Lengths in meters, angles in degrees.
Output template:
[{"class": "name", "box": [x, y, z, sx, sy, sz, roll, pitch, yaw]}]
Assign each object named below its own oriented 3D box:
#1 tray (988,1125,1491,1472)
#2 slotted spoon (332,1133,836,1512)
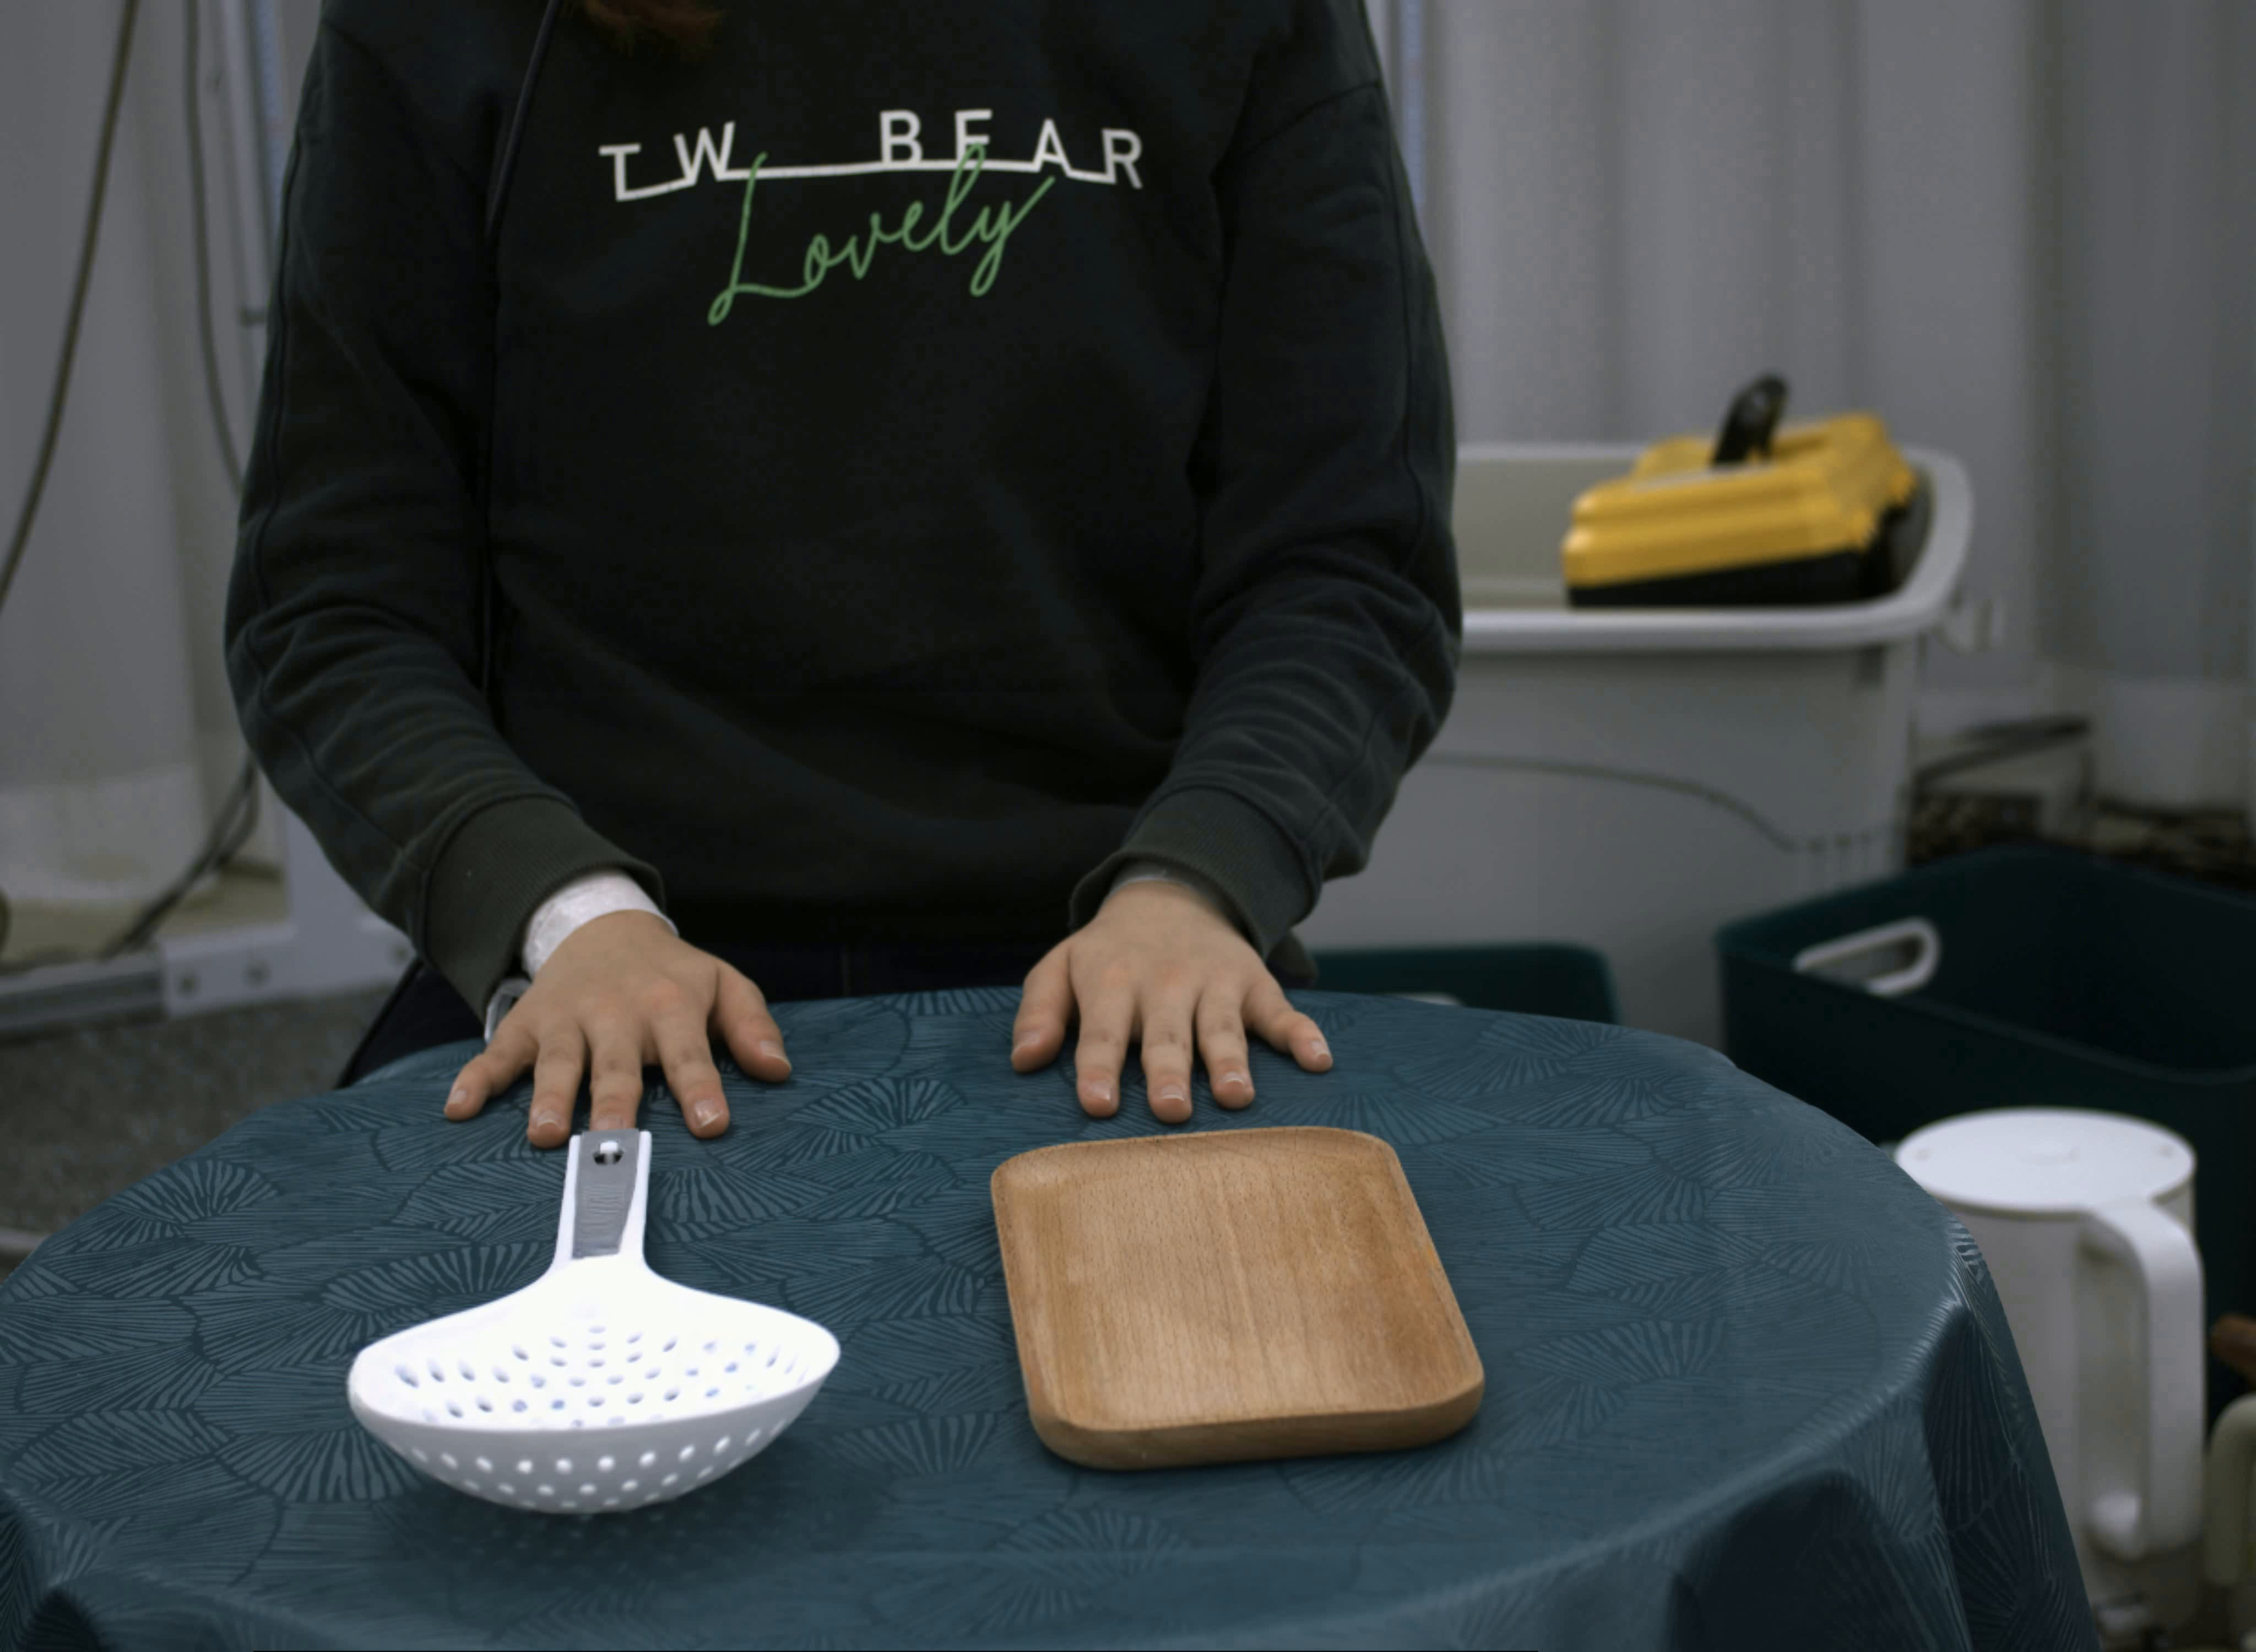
[{"class": "tray", "box": [0.029, 0.135, 1.600, 0.130, 0.023, 0.252, -2, 14, -4]}, {"class": "slotted spoon", "box": [-0.154, 0.134, 1.583, 0.135, 0.045, 0.352, -1, 14, -4]}]
